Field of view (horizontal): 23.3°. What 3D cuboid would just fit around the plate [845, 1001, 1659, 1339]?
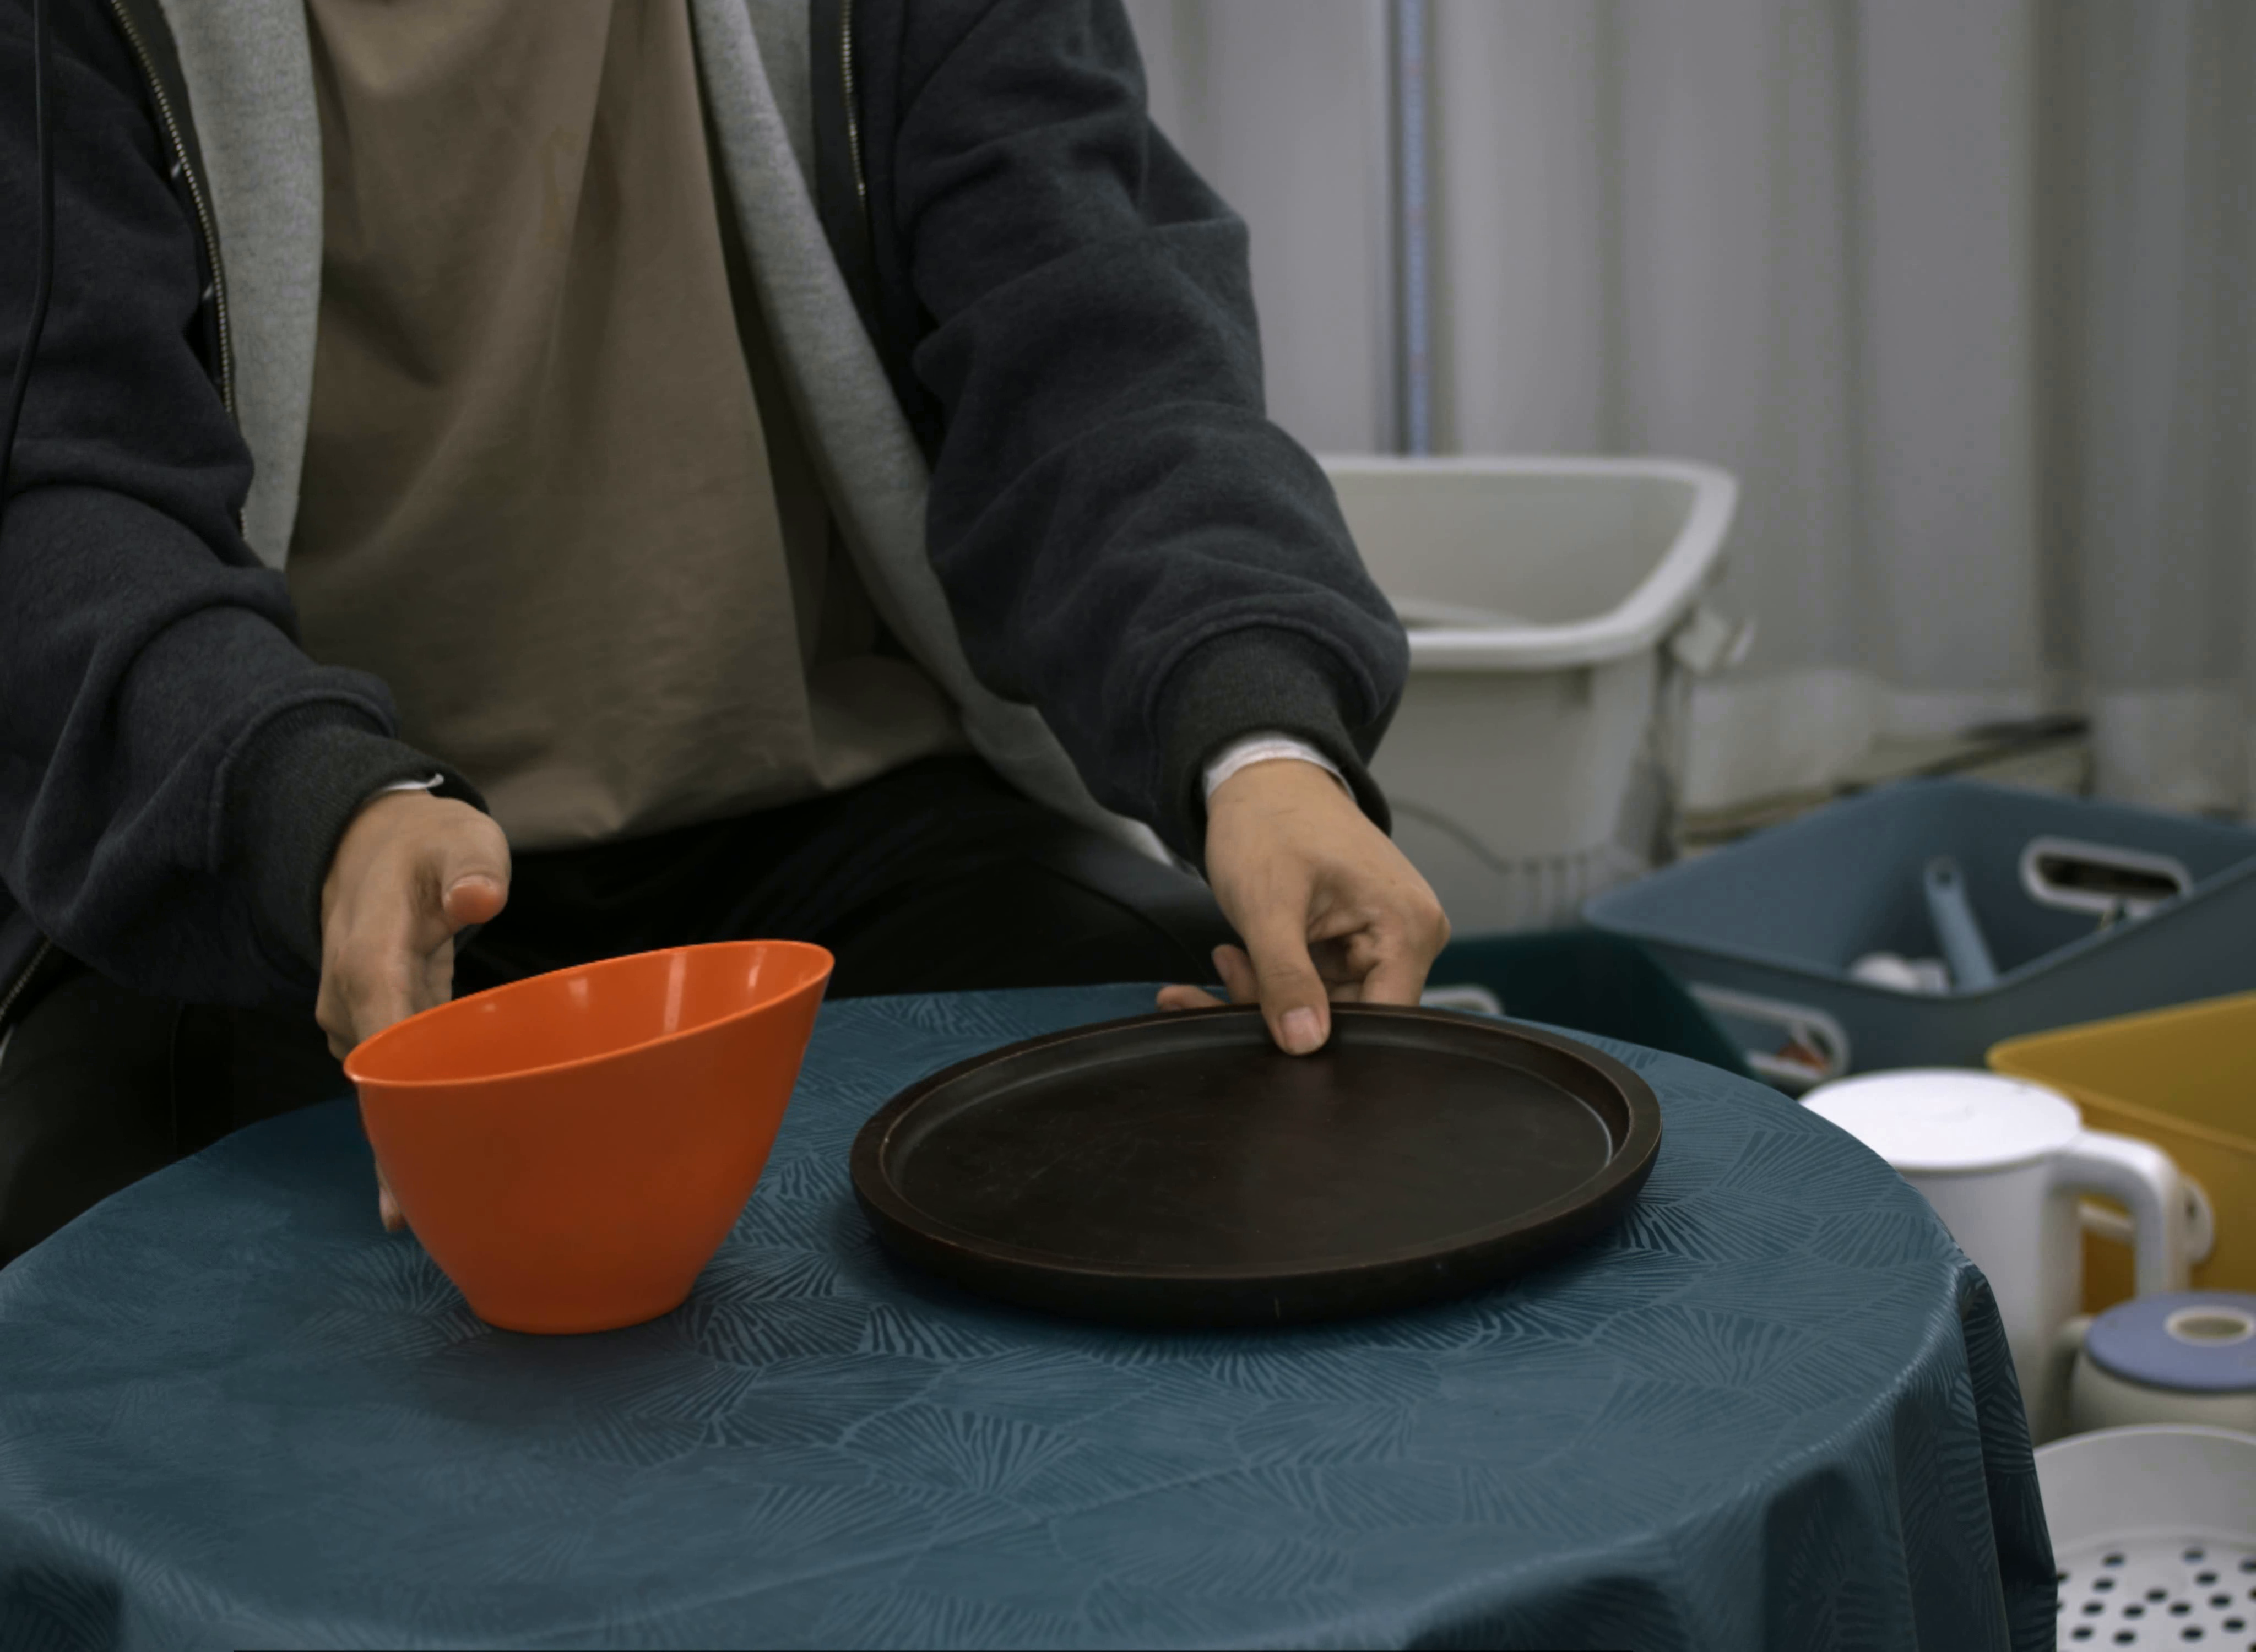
[{"bbox_3d":[0.039,0.104,1.696,0.254,0.029,0.257,-5,16,1],"label":"plate"}]

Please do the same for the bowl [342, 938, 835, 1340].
[{"bbox_3d":[-0.157,0.094,1.628,0.147,0.104,0.149,-3,16,1],"label":"bowl"}]
